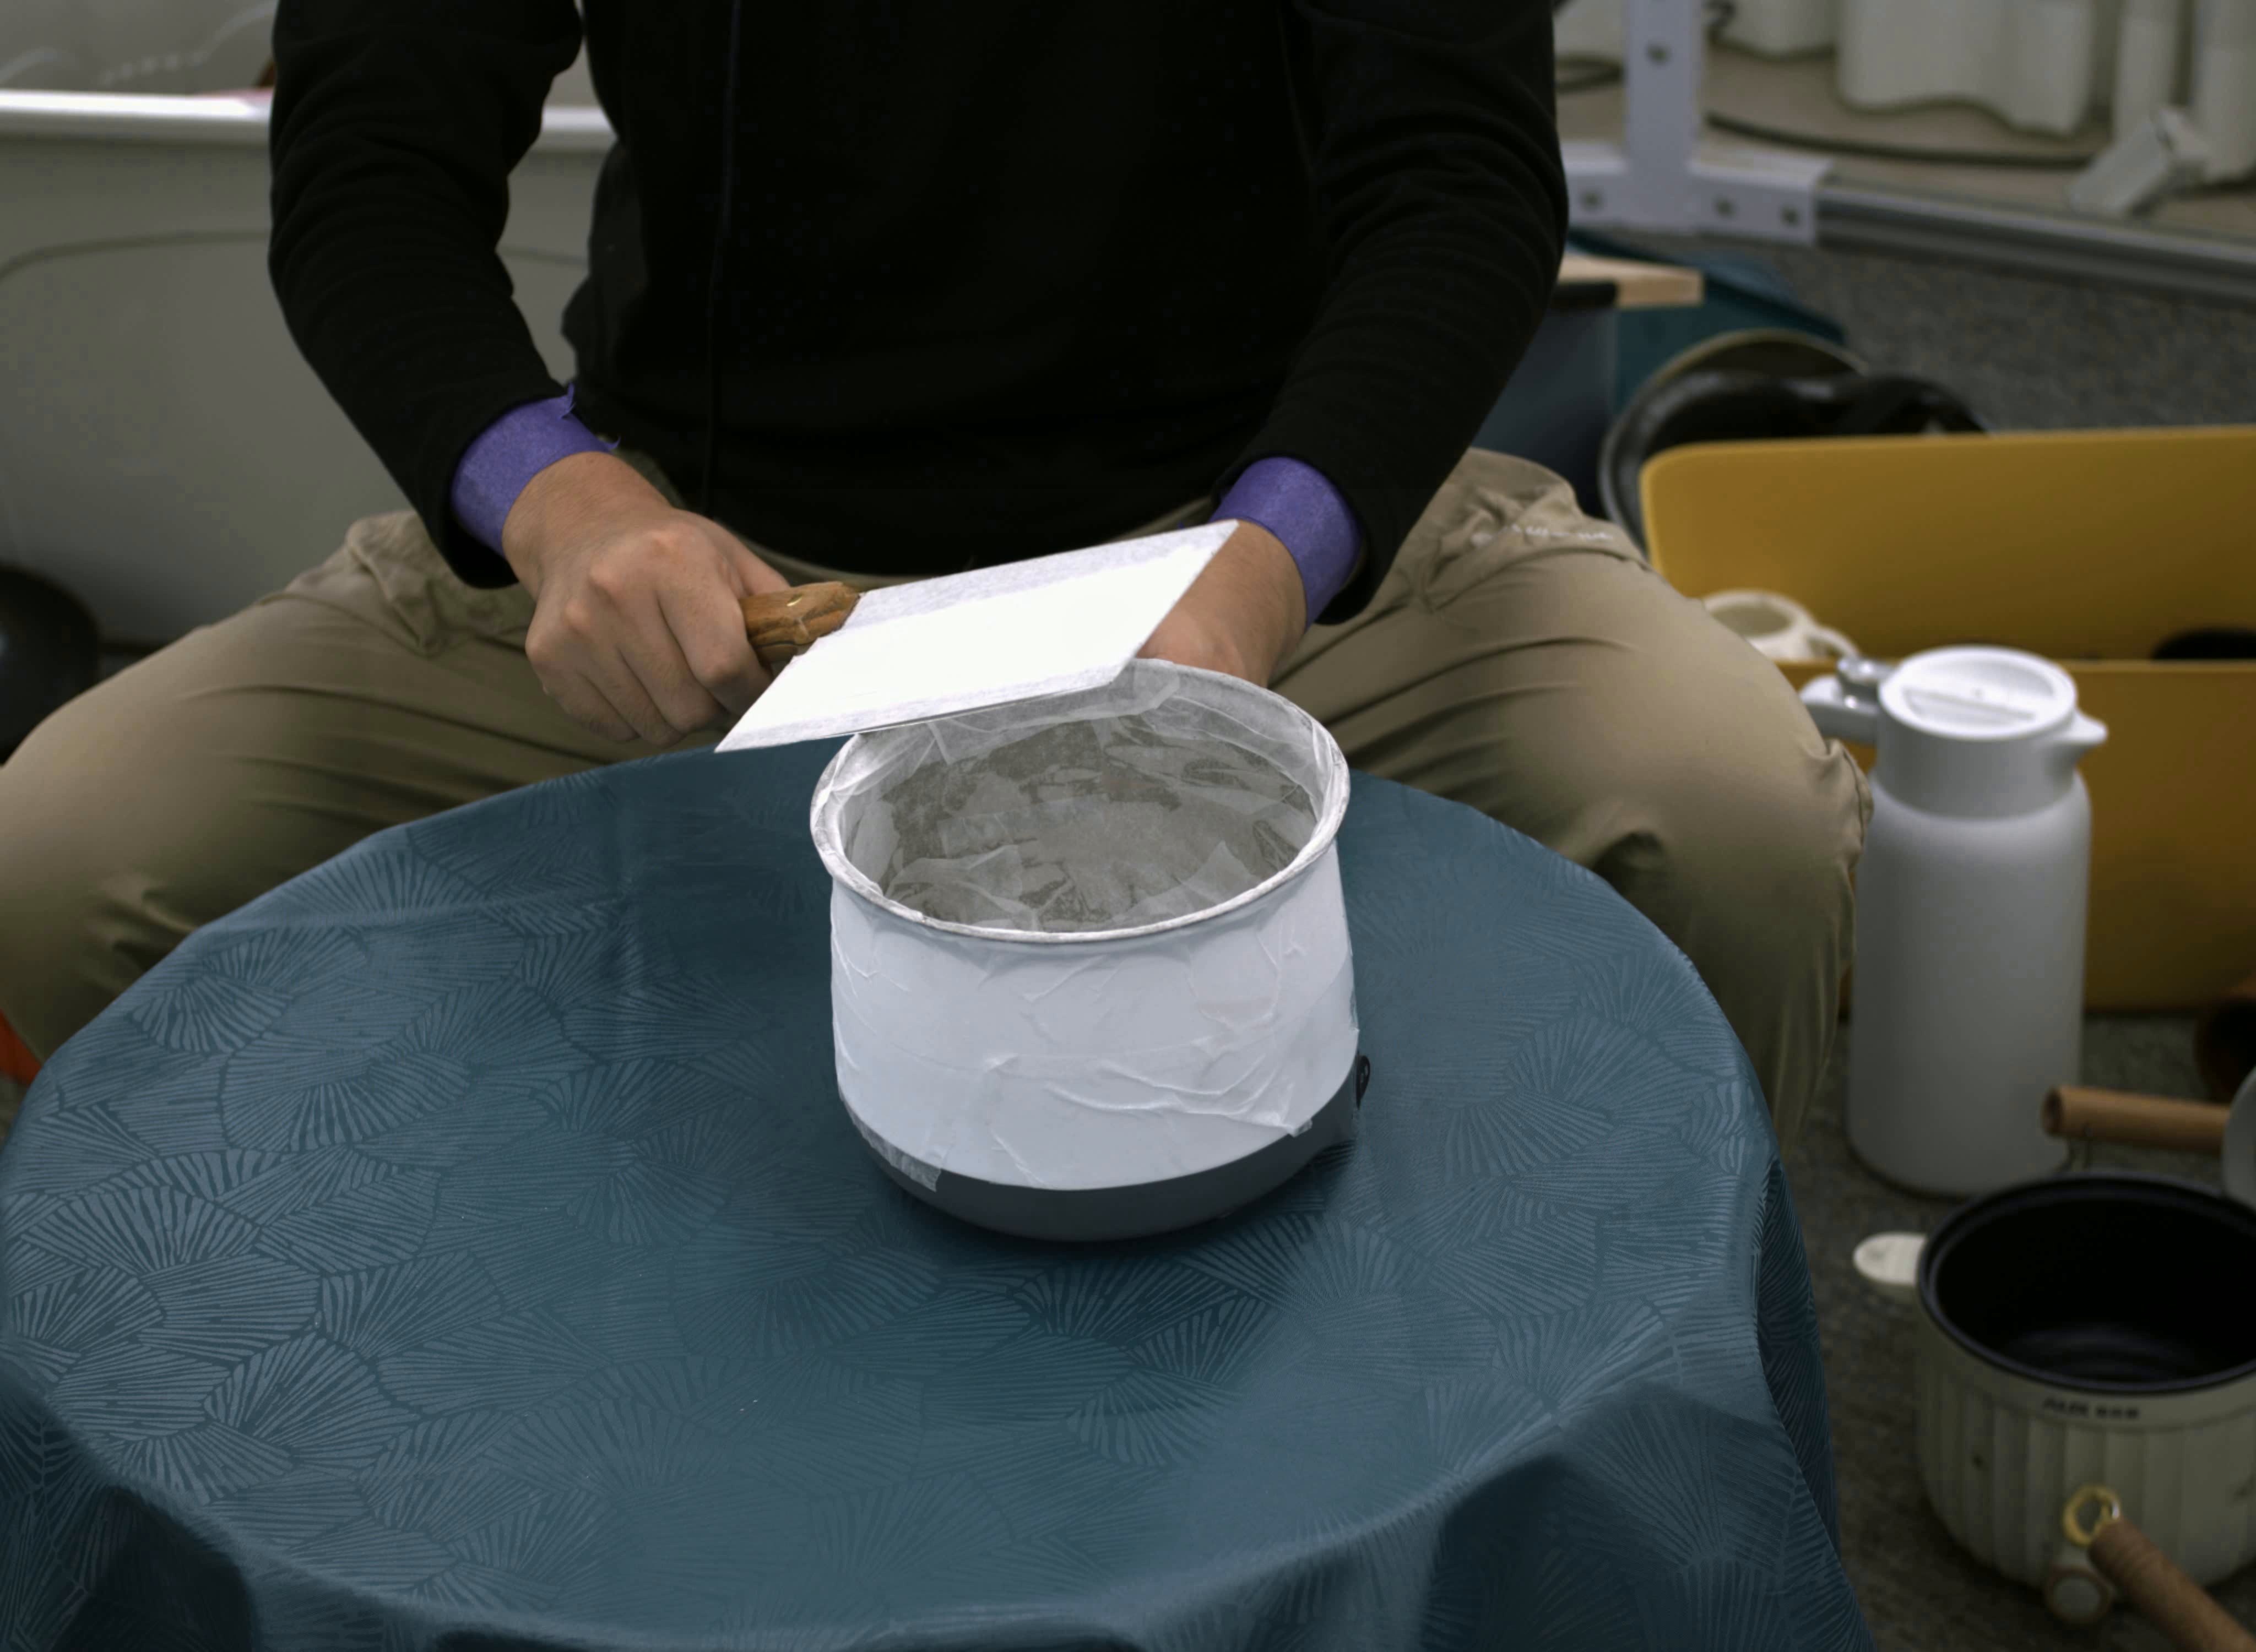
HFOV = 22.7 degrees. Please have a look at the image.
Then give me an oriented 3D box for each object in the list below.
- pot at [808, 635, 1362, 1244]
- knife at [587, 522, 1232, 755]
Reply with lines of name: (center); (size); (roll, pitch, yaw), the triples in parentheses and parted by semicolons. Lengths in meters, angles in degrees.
pot: (-0.012, 0.028, 1.882); (0.178, 0.135, 0.238); (-1, 31, 3)
knife: (-0.092, -0.057, 1.927); (0.302, 0.021, 0.094); (-9, 30, 43)
